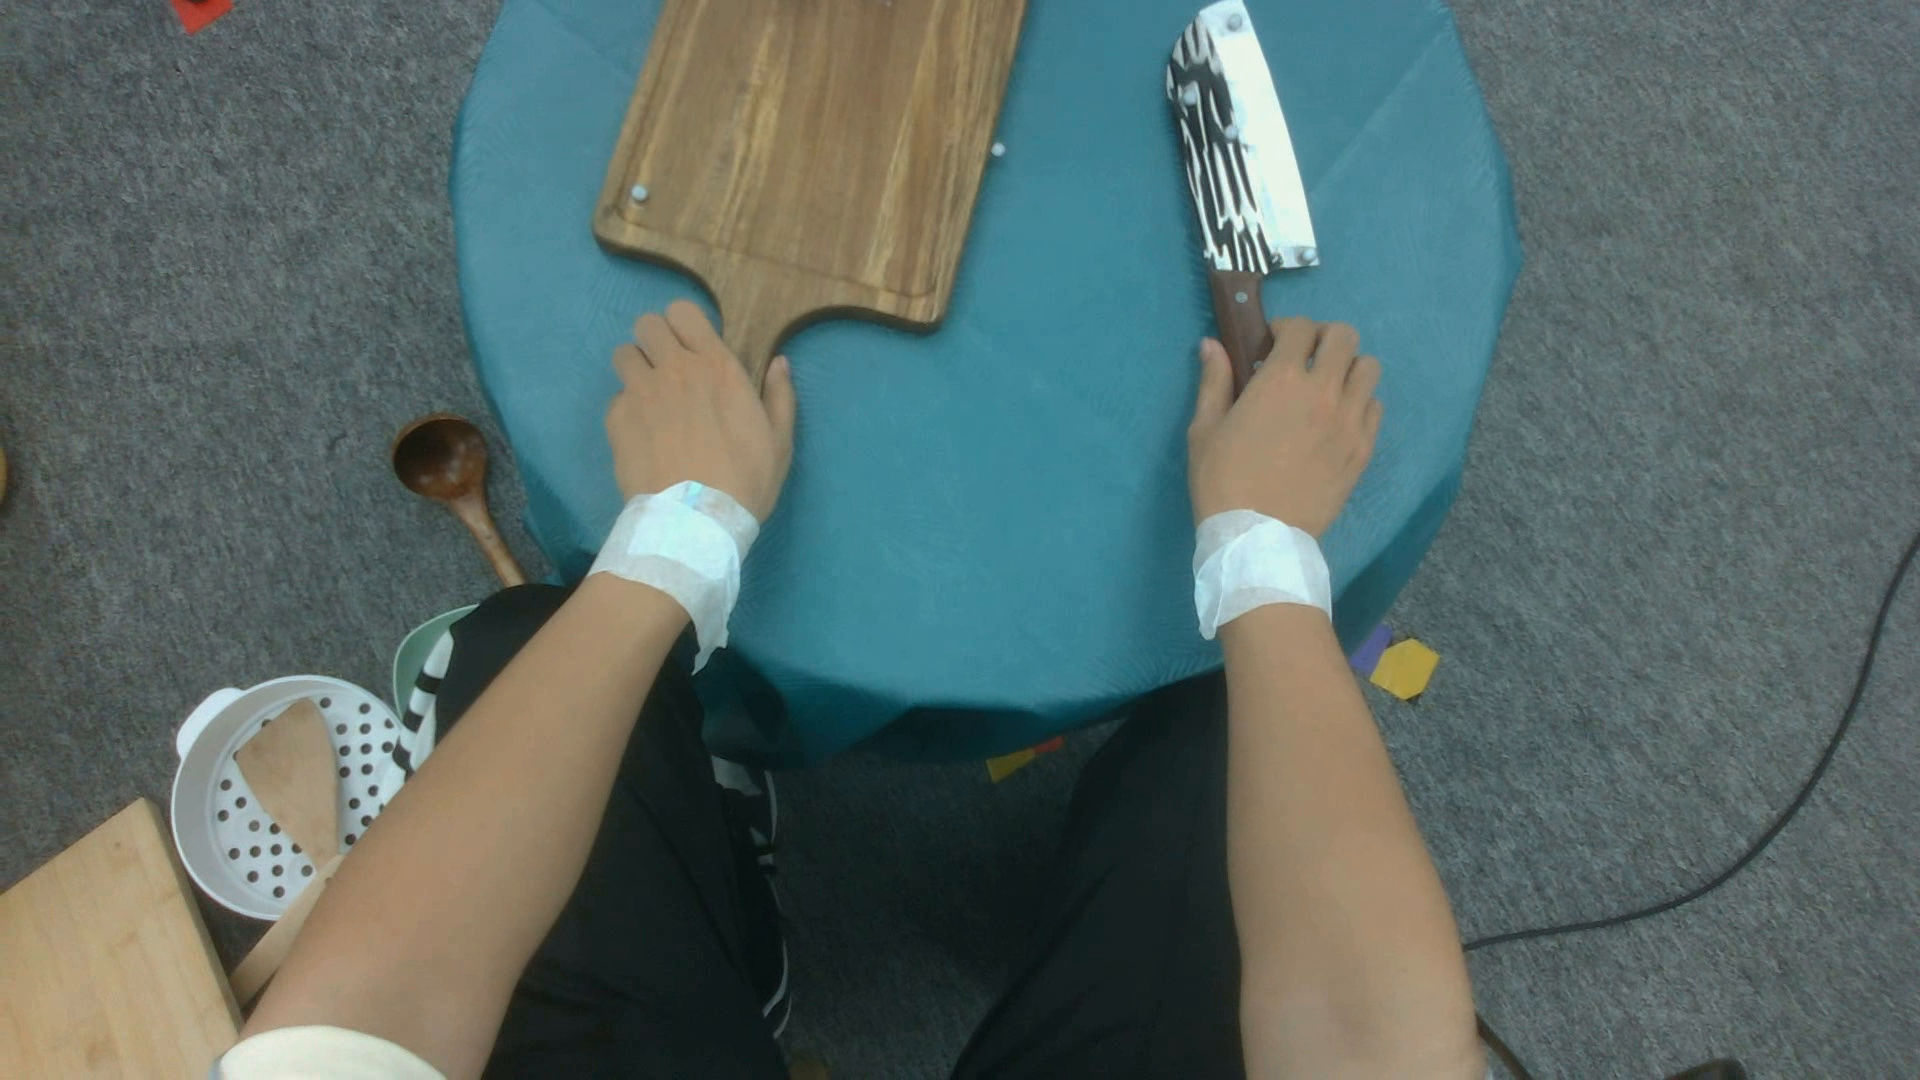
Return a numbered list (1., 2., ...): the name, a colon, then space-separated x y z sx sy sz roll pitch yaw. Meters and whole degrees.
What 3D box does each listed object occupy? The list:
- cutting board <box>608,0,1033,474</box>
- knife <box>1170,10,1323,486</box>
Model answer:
1. cutting board: -0.085 -0.205 0.782 0.201 0.023 0.353 14 76 0
2. knife: 0.171 -0.176 0.791 0.068 0.024 0.300 -7 74 -6
